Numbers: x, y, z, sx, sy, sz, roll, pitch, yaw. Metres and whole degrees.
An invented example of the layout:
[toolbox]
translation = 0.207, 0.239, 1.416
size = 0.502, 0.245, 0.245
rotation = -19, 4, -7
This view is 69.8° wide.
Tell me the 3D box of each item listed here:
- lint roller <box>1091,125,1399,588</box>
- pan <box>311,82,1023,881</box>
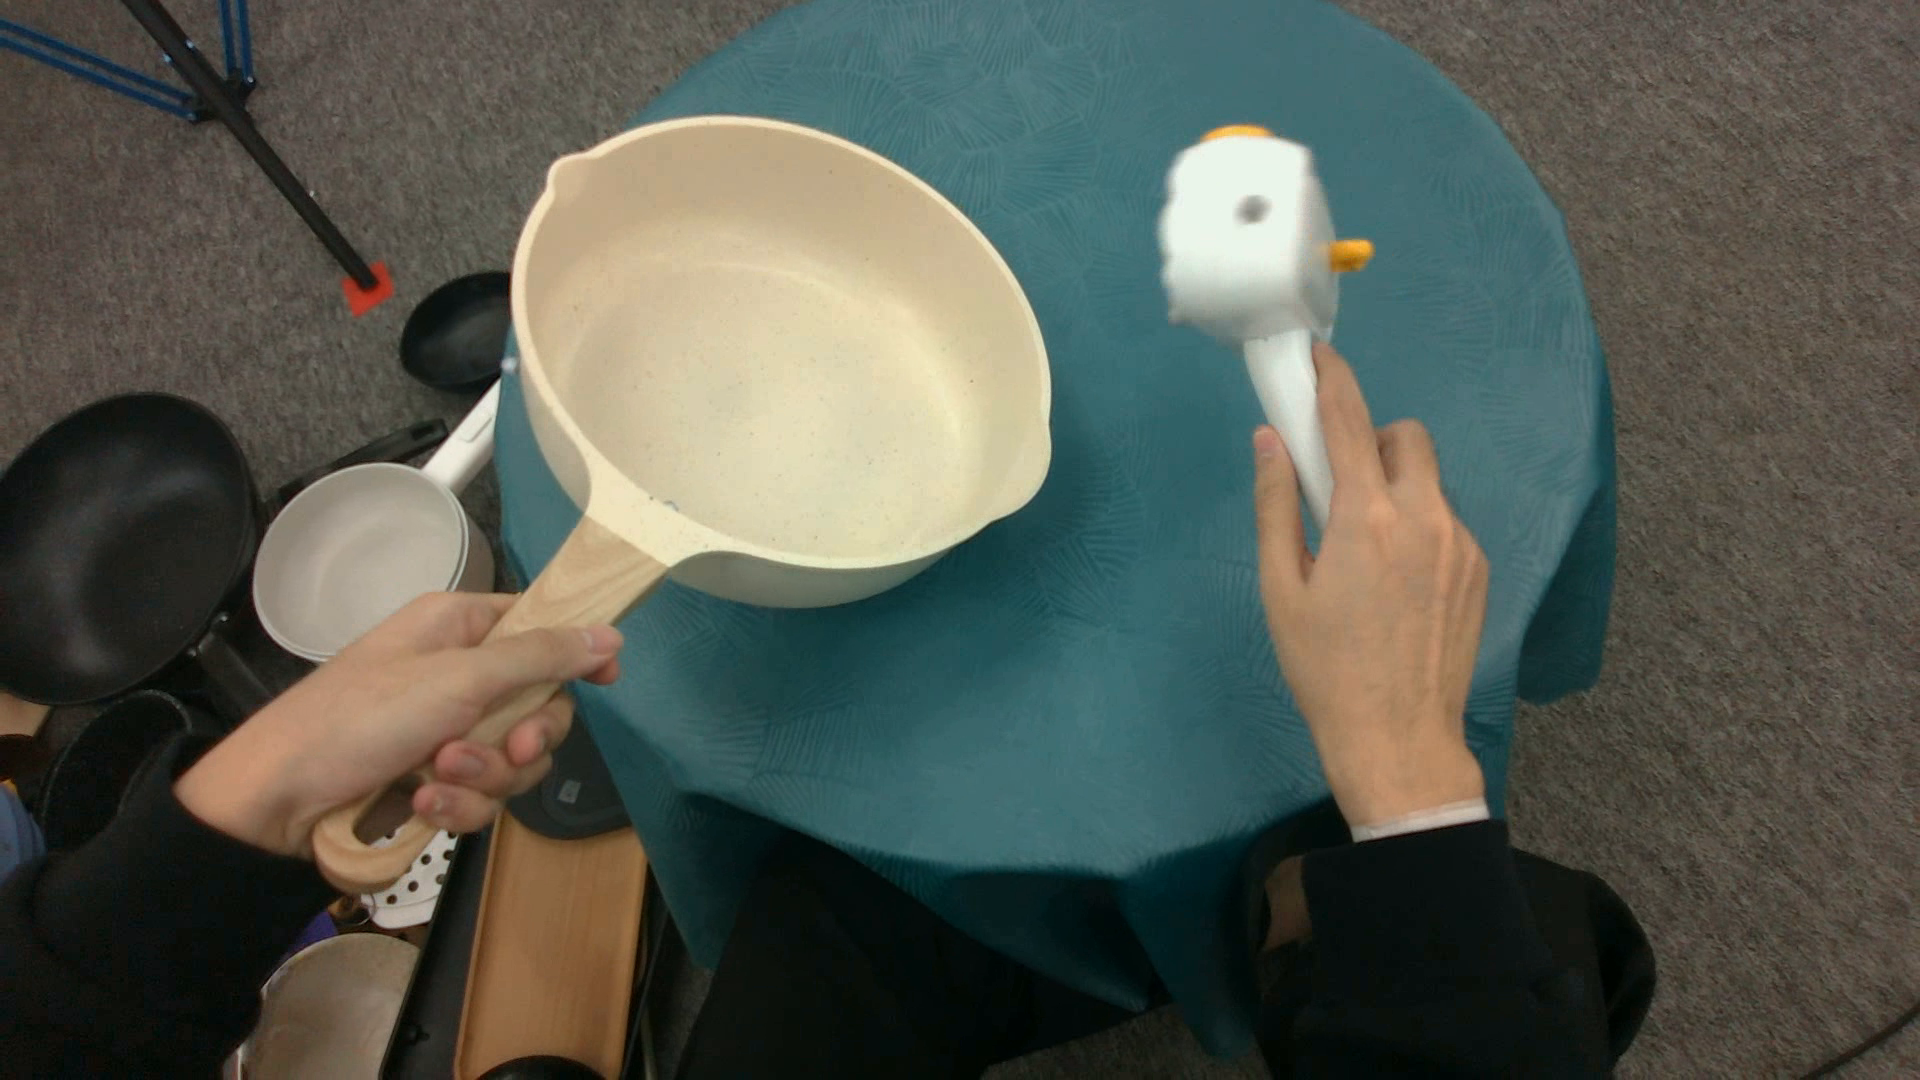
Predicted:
[lint roller]
translation = 0.127, -0.069, 0.564
size = 0.074, 0.193, 0.192
rotation = -14, 92, 23
[pan]
translation = -0.132, -0.032, 0.597
size = 0.263, 0.101, 0.437
rotation = 35, 53, -7
